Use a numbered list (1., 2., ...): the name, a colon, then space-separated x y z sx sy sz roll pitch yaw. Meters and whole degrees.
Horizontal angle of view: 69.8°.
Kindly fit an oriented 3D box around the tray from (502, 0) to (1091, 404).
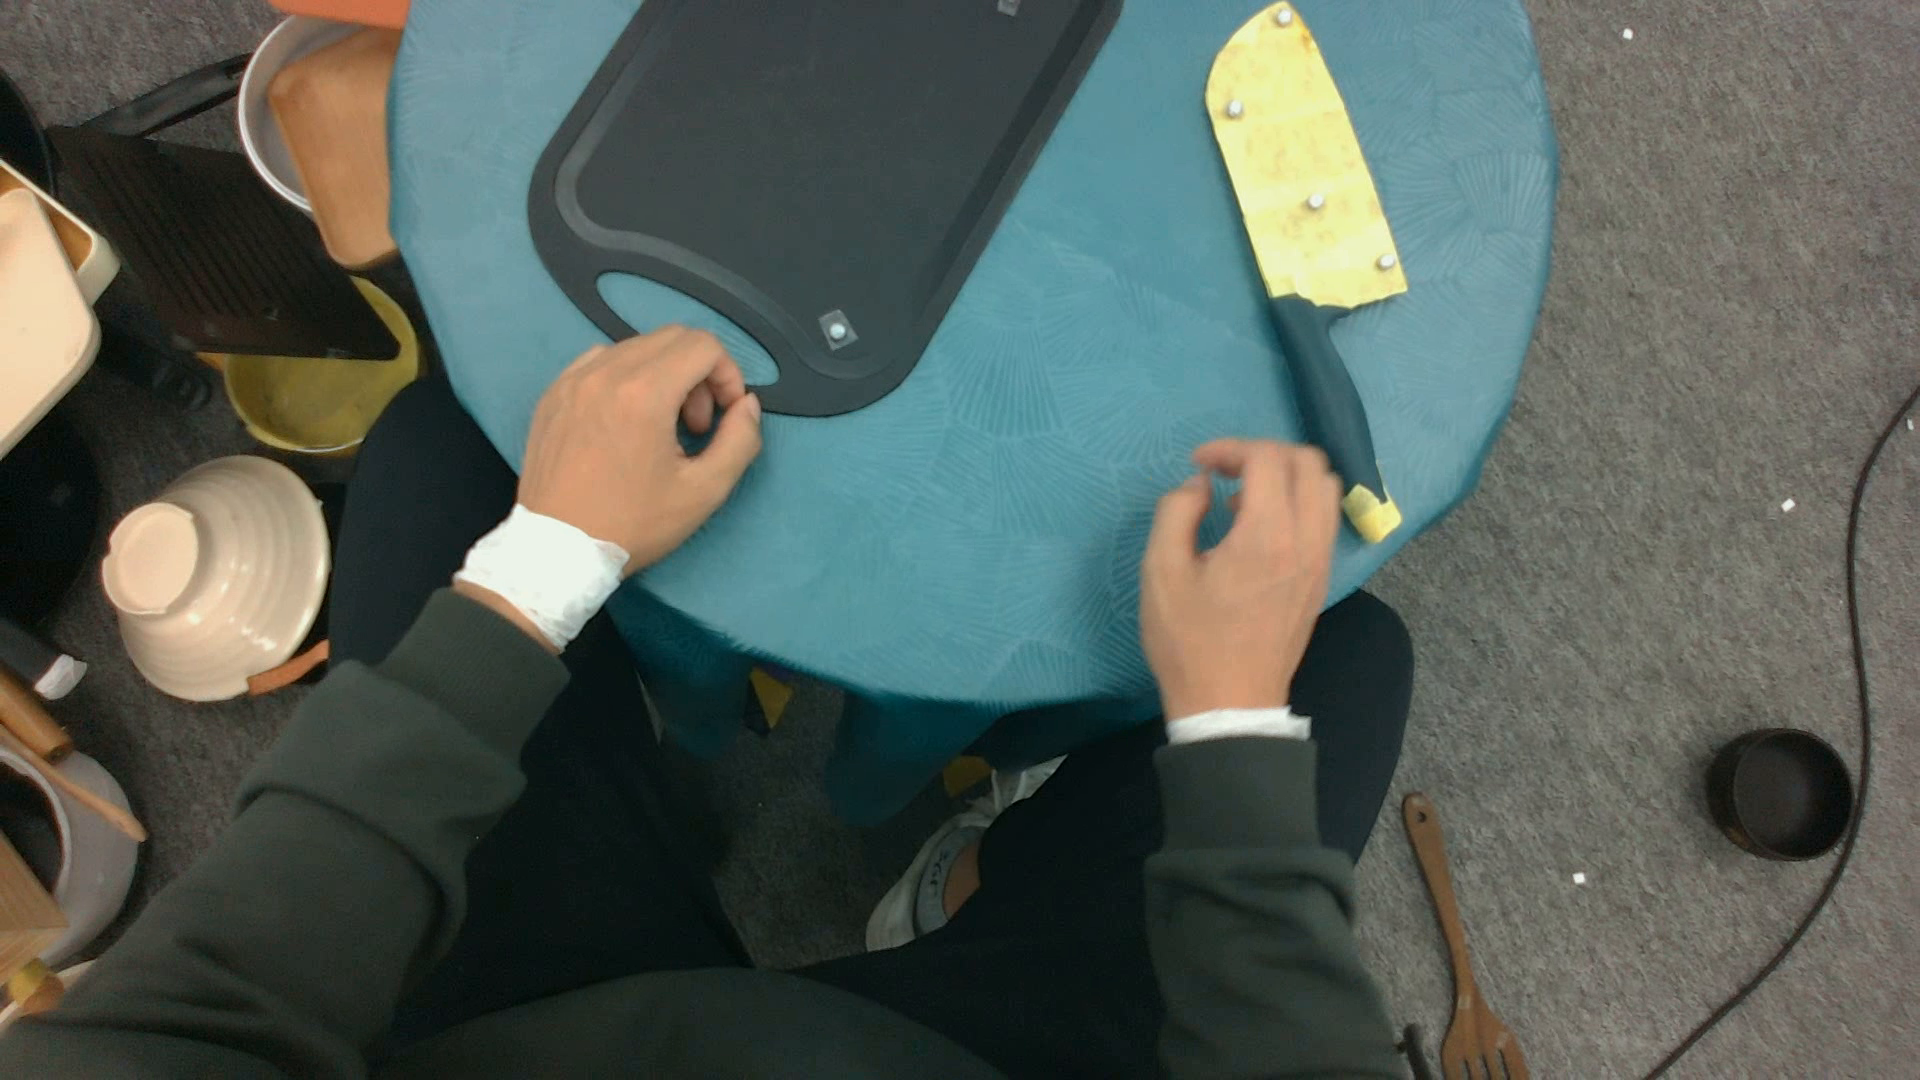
1. tray: -0.080 -0.227 0.697 0.211 0.010 0.326 30 78 -2

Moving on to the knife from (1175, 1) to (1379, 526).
1. knife: 0.176 -0.149 0.714 0.081 0.027 0.290 -12 82 -8
